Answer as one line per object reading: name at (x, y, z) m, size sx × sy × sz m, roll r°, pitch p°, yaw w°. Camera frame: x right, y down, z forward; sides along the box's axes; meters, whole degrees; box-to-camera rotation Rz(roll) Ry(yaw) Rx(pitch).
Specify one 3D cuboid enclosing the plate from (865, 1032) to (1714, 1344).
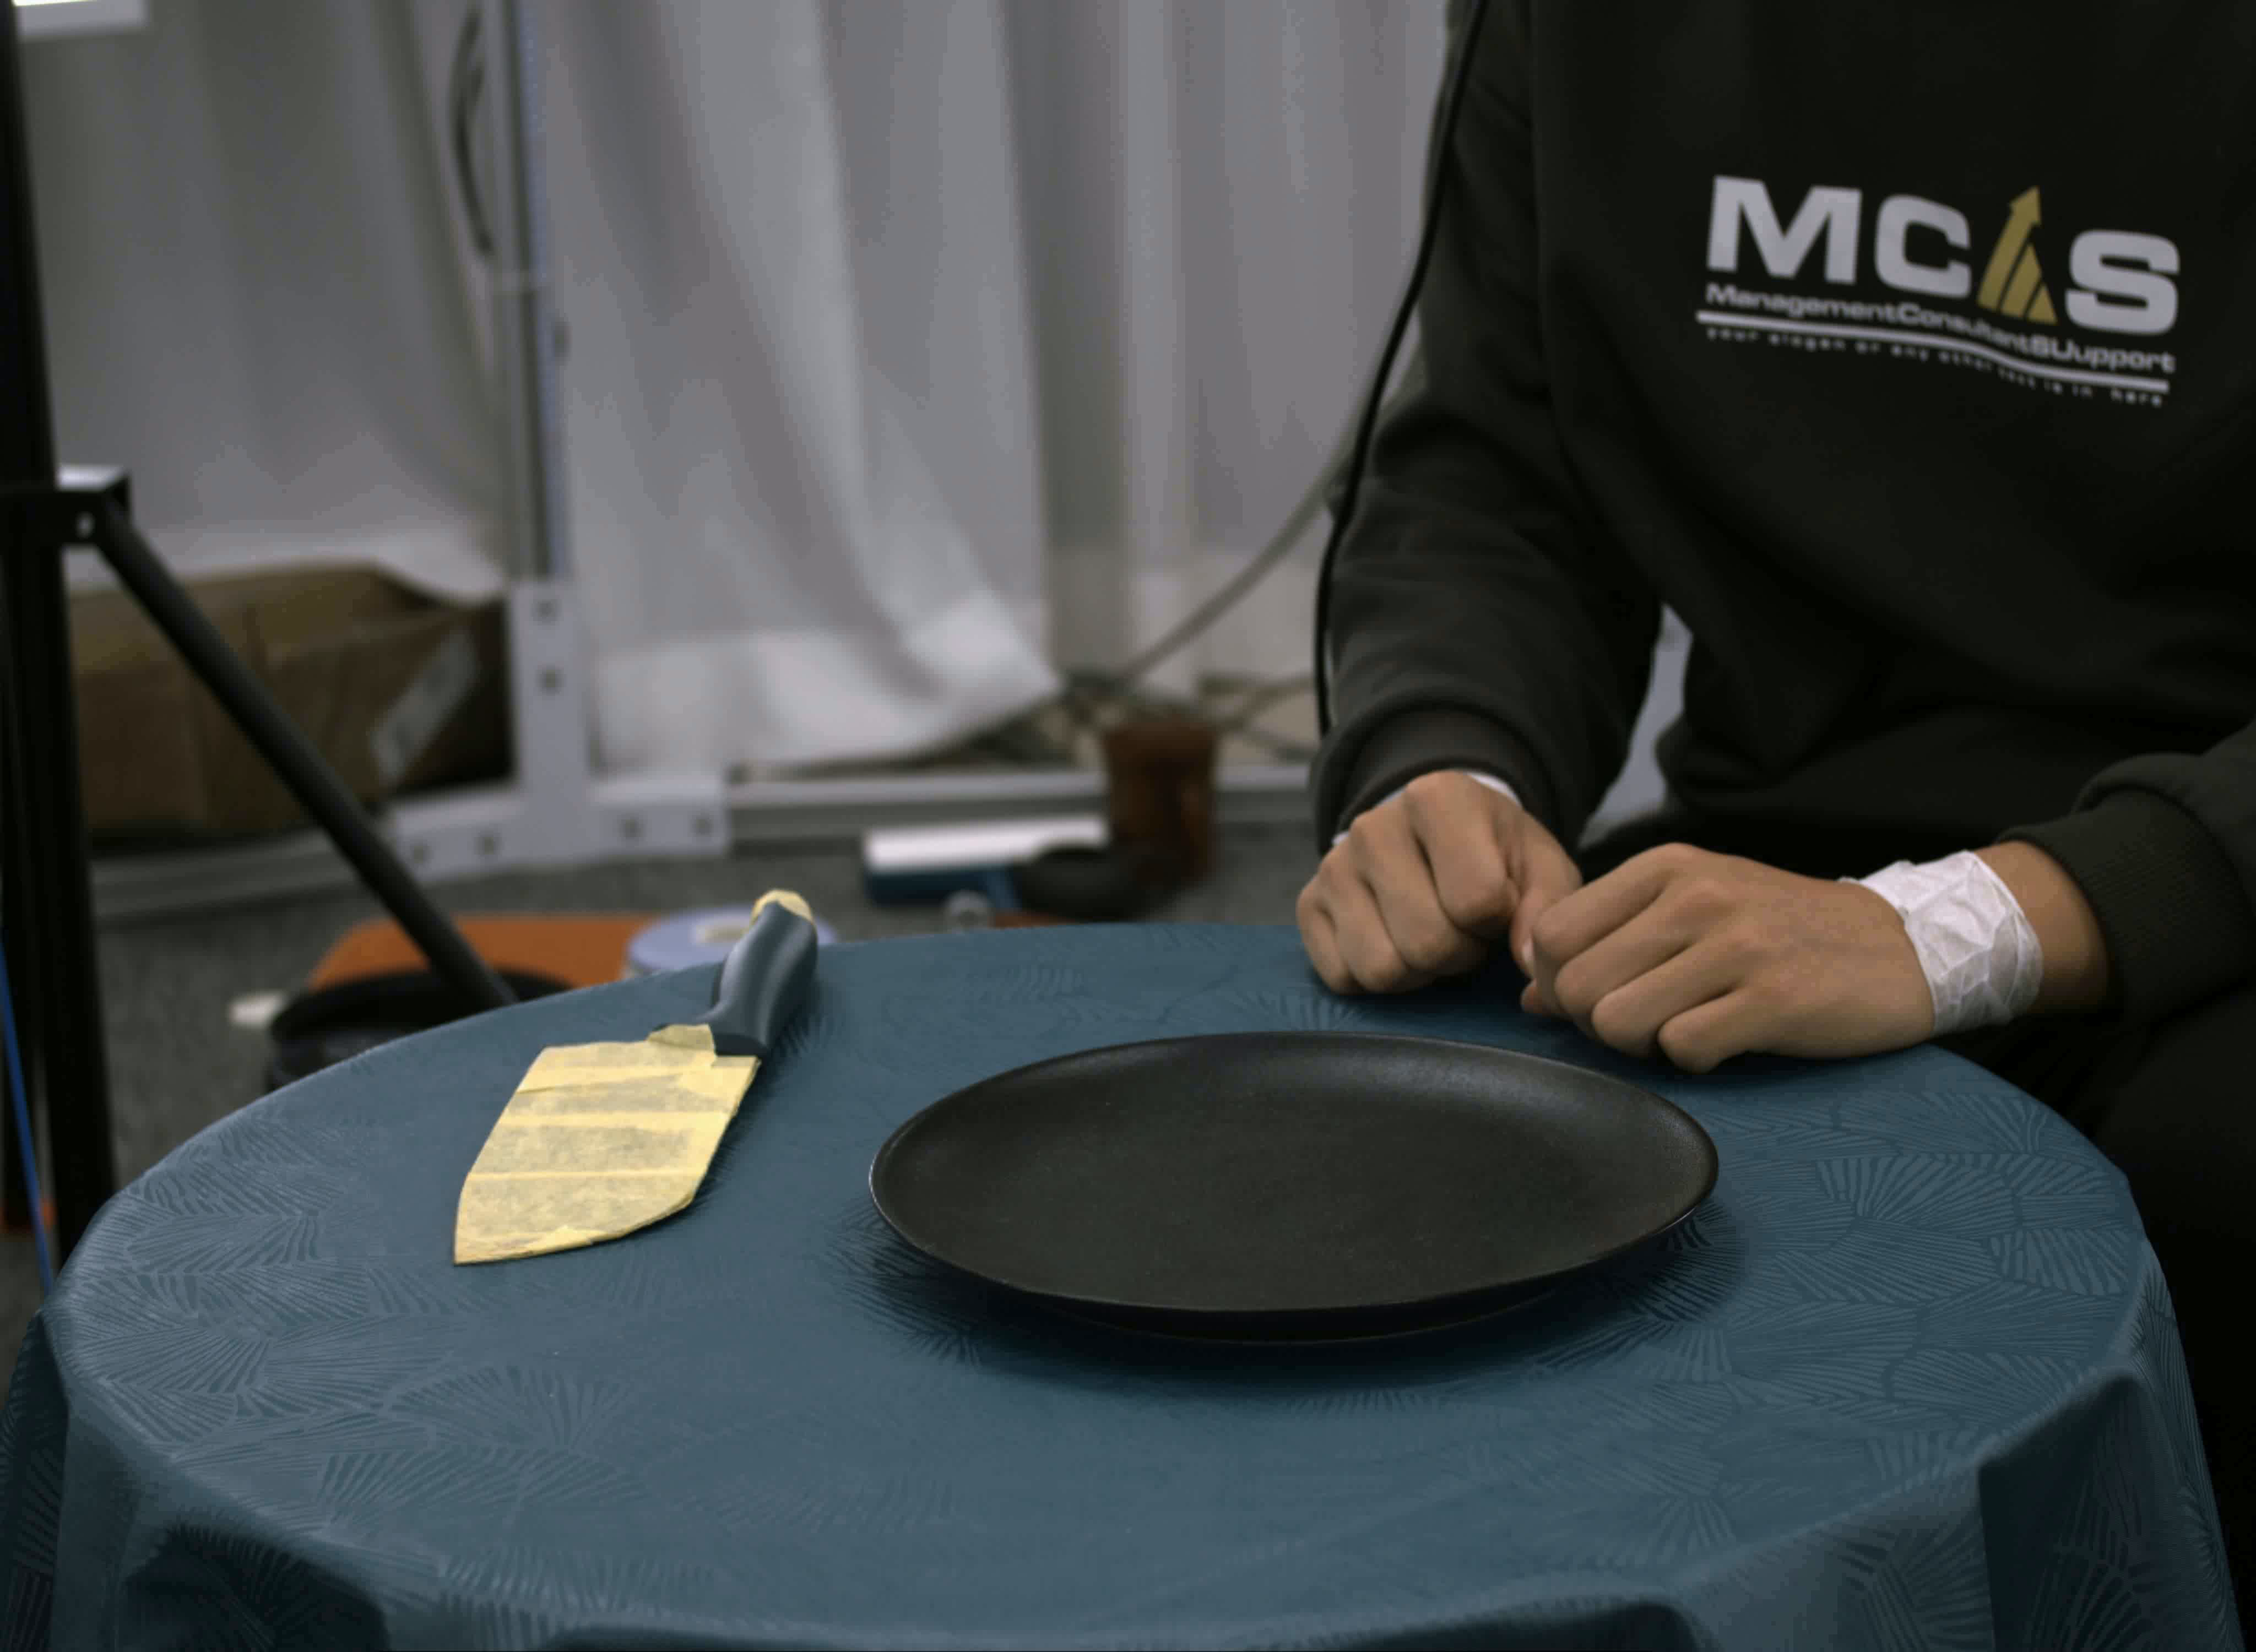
plate at (0.046, 0.106, 1.520) m, size 0.243 × 0.023 × 0.245 m, roll -3°, pitch 16°, yaw -1°

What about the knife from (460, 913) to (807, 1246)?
knife at (-0.150, 0.079, 1.662) m, size 0.081 × 0.027 × 0.288 m, roll 2°, pitch 17°, yaw 10°
